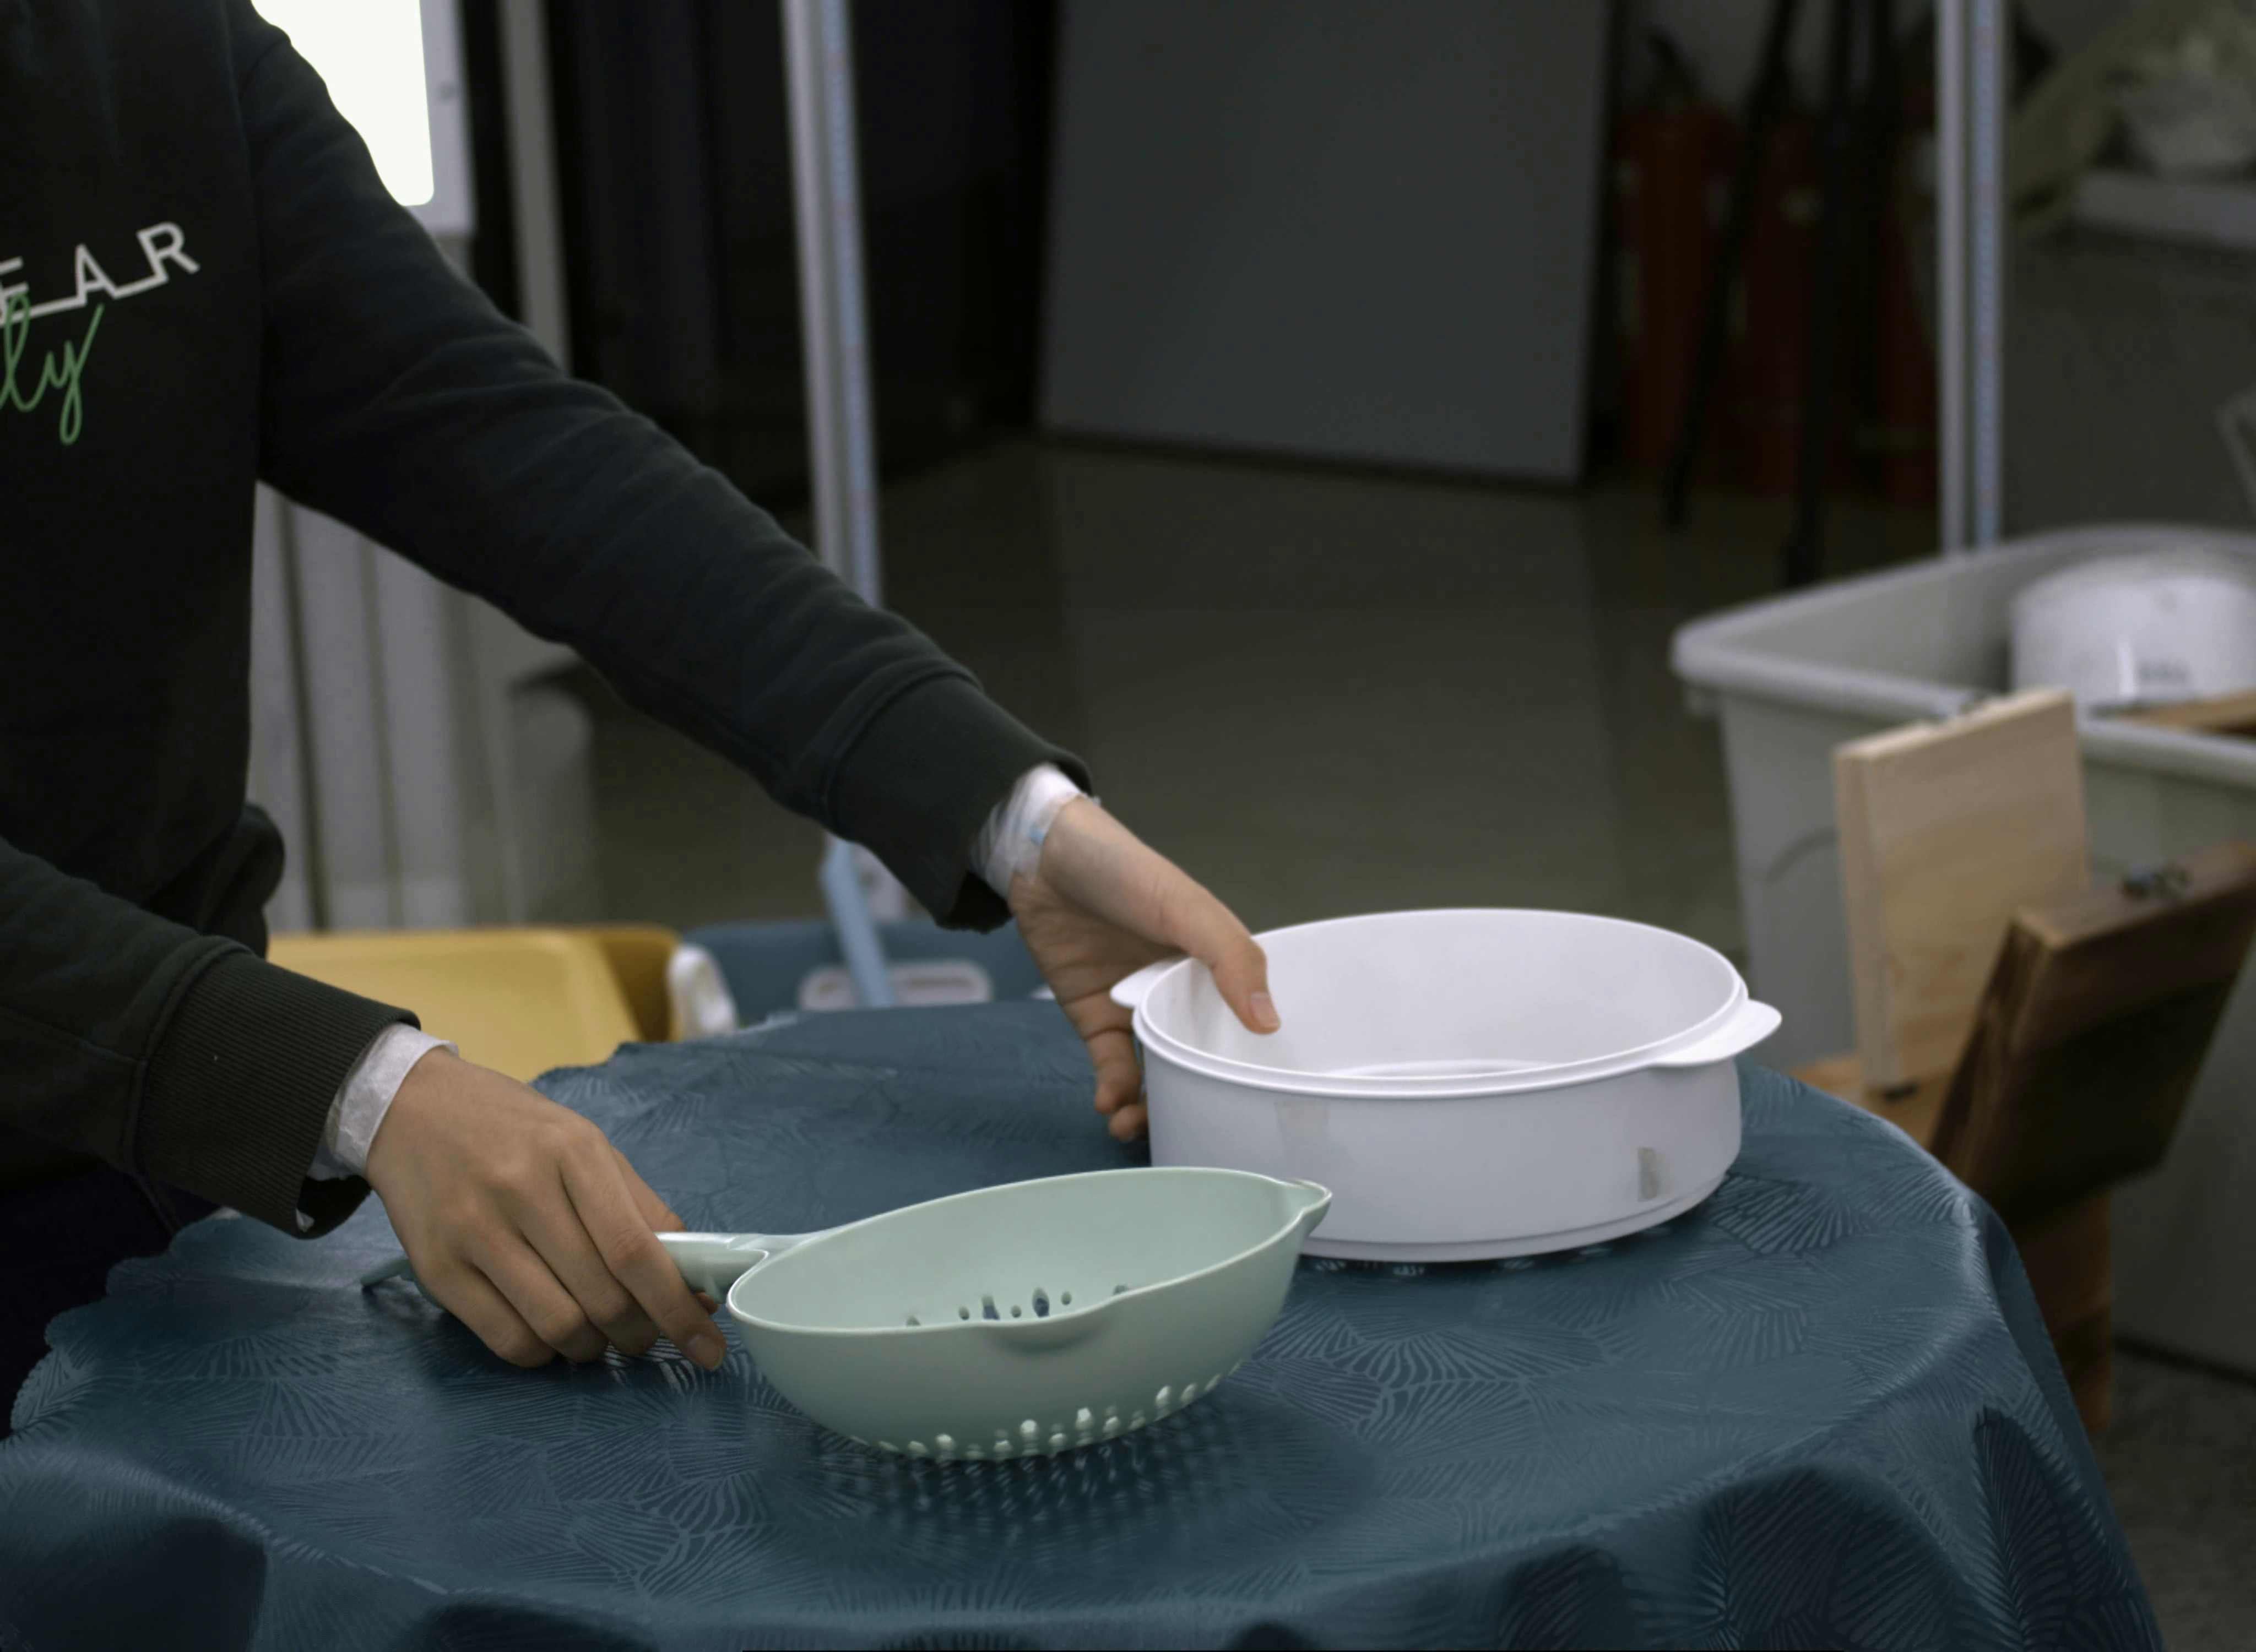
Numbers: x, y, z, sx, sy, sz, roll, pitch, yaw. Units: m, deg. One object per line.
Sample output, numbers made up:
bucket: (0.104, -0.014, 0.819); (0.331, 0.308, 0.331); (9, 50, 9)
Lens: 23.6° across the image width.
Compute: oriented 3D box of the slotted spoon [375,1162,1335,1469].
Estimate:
slotted spoon: (-0.102, 0.136, 1.607); (0.361, 0.076, 0.166); (8, 17, 39)

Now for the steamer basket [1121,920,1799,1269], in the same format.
steamer basket: (0.107, 0.087, 1.745); (0.231, 0.070, 0.199); (4, 15, 30)
